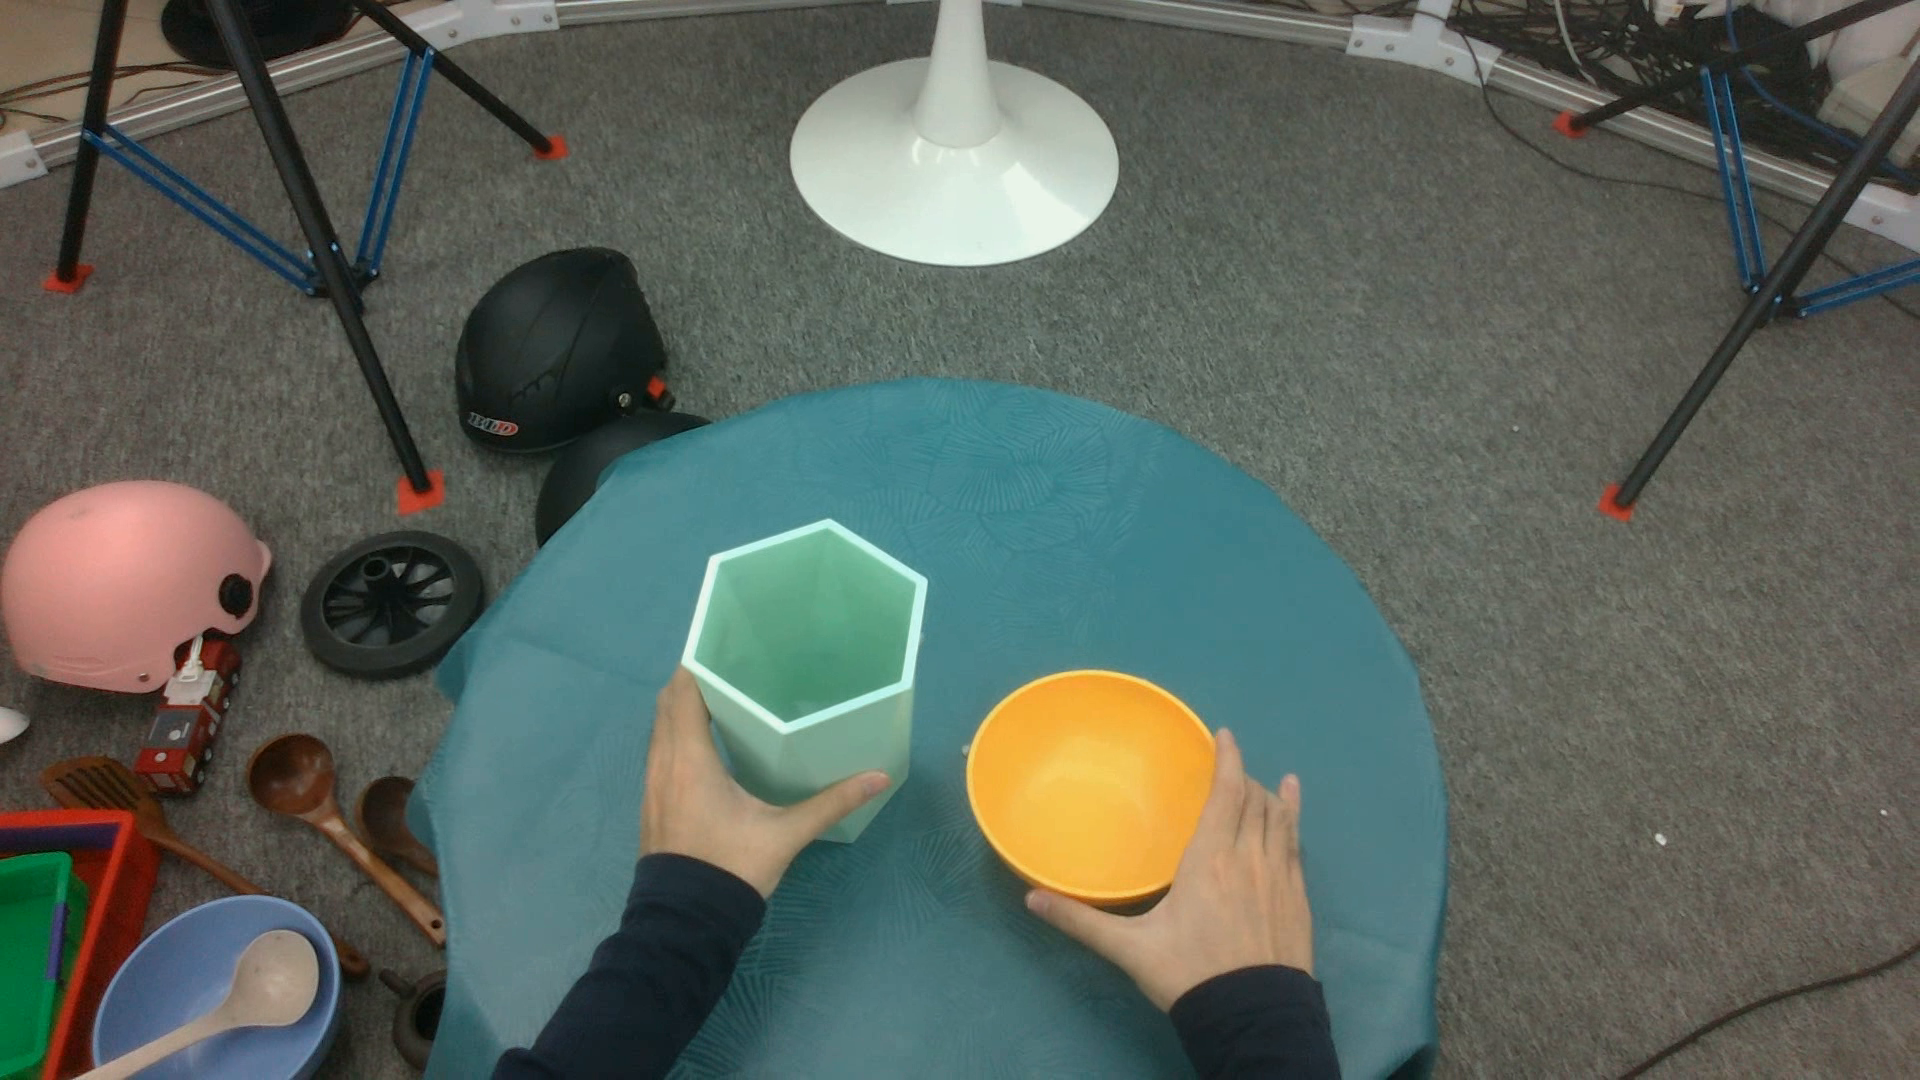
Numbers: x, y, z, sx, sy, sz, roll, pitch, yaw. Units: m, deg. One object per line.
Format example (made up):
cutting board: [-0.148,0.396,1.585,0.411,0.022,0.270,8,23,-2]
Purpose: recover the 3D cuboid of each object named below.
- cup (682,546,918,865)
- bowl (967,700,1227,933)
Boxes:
cup: [-0.080,0.103,0.767,0.131,0.162,0.116,26,57,19]
bowl: [0.077,0.167,0.790,0.145,0.060,0.146,-1,49,1]
